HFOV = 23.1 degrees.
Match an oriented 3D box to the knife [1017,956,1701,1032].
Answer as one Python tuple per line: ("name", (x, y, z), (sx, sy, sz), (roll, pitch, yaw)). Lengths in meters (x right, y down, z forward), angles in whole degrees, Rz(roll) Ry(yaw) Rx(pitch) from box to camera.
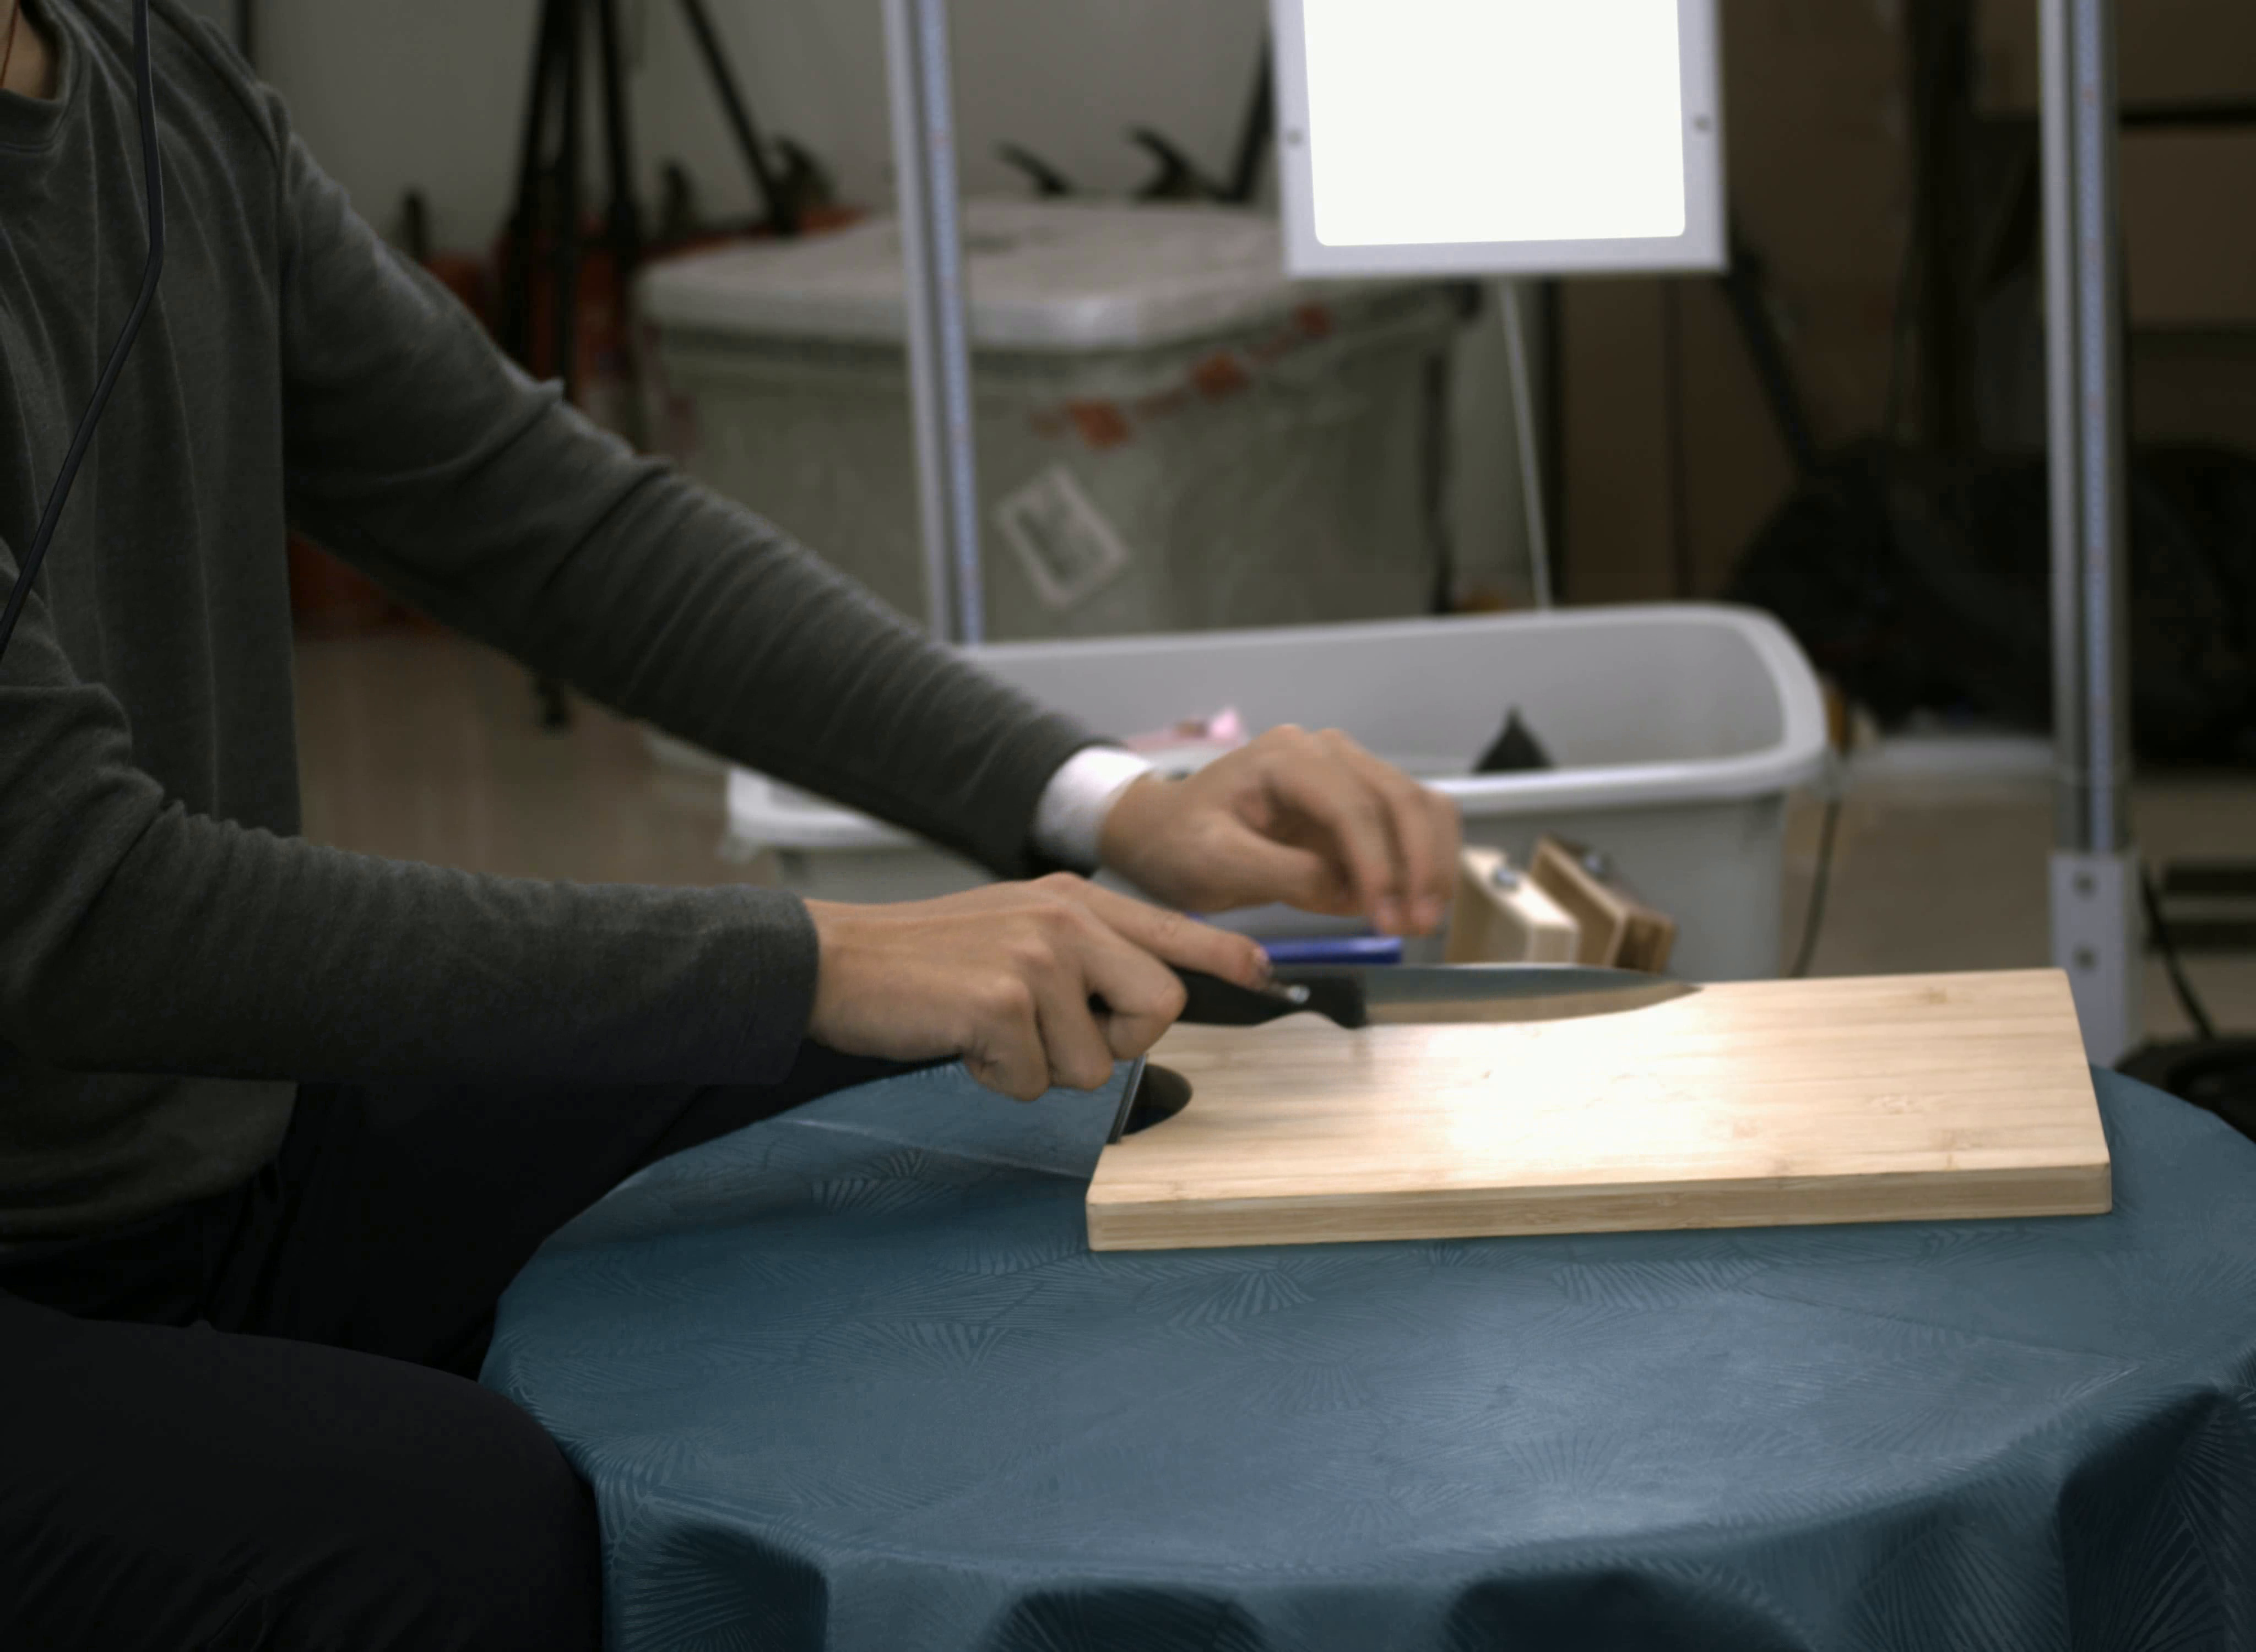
("knife", (0.080, 0.057, 1.904), (0.239, 0.024, 0.016), (1, 9, 8))

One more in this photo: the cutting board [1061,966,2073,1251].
("cutting board", (0.161, 0.098, 1.928), (0.350, 0.023, 0.249), (-3, 13, 8))
